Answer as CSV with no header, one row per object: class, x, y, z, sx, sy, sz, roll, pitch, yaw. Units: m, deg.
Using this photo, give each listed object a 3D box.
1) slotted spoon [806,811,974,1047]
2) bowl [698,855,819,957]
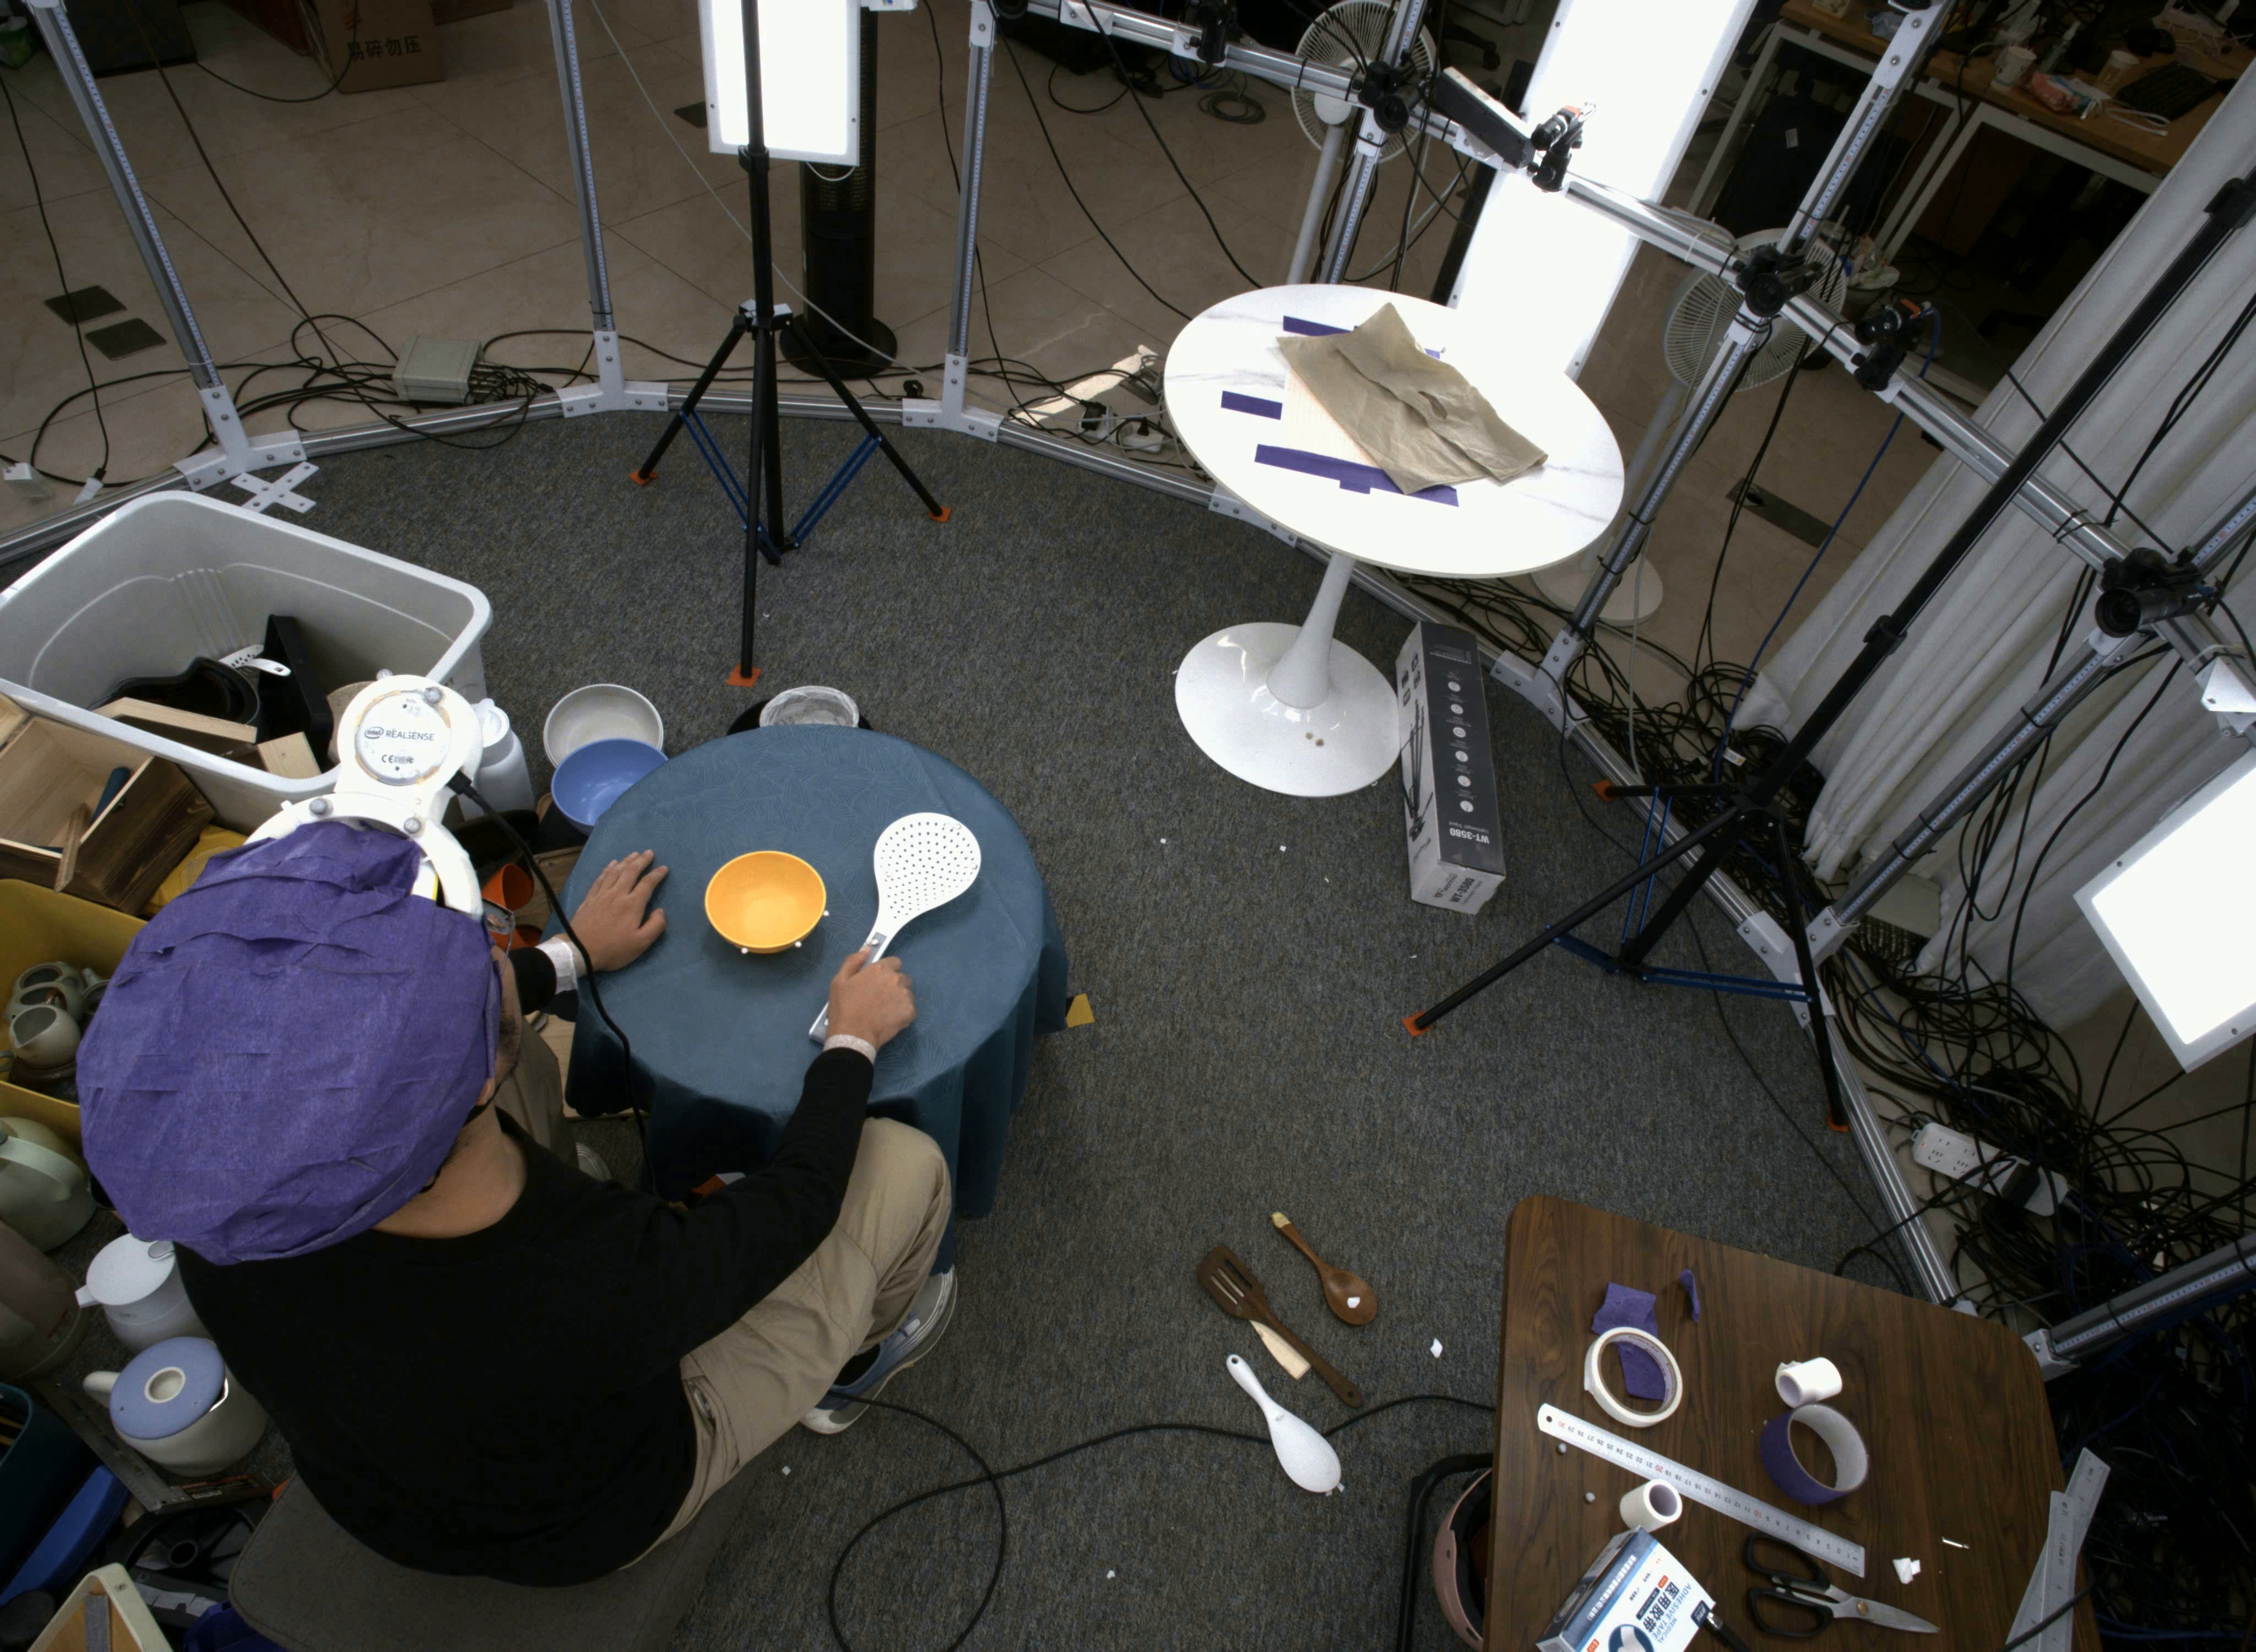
slotted spoon,-0.307,0.123,1.628,0.134,0.046,0.347,24,53,2
bowl,-0.454,0.108,1.595,0.145,0.061,0.142,8,50,-8
